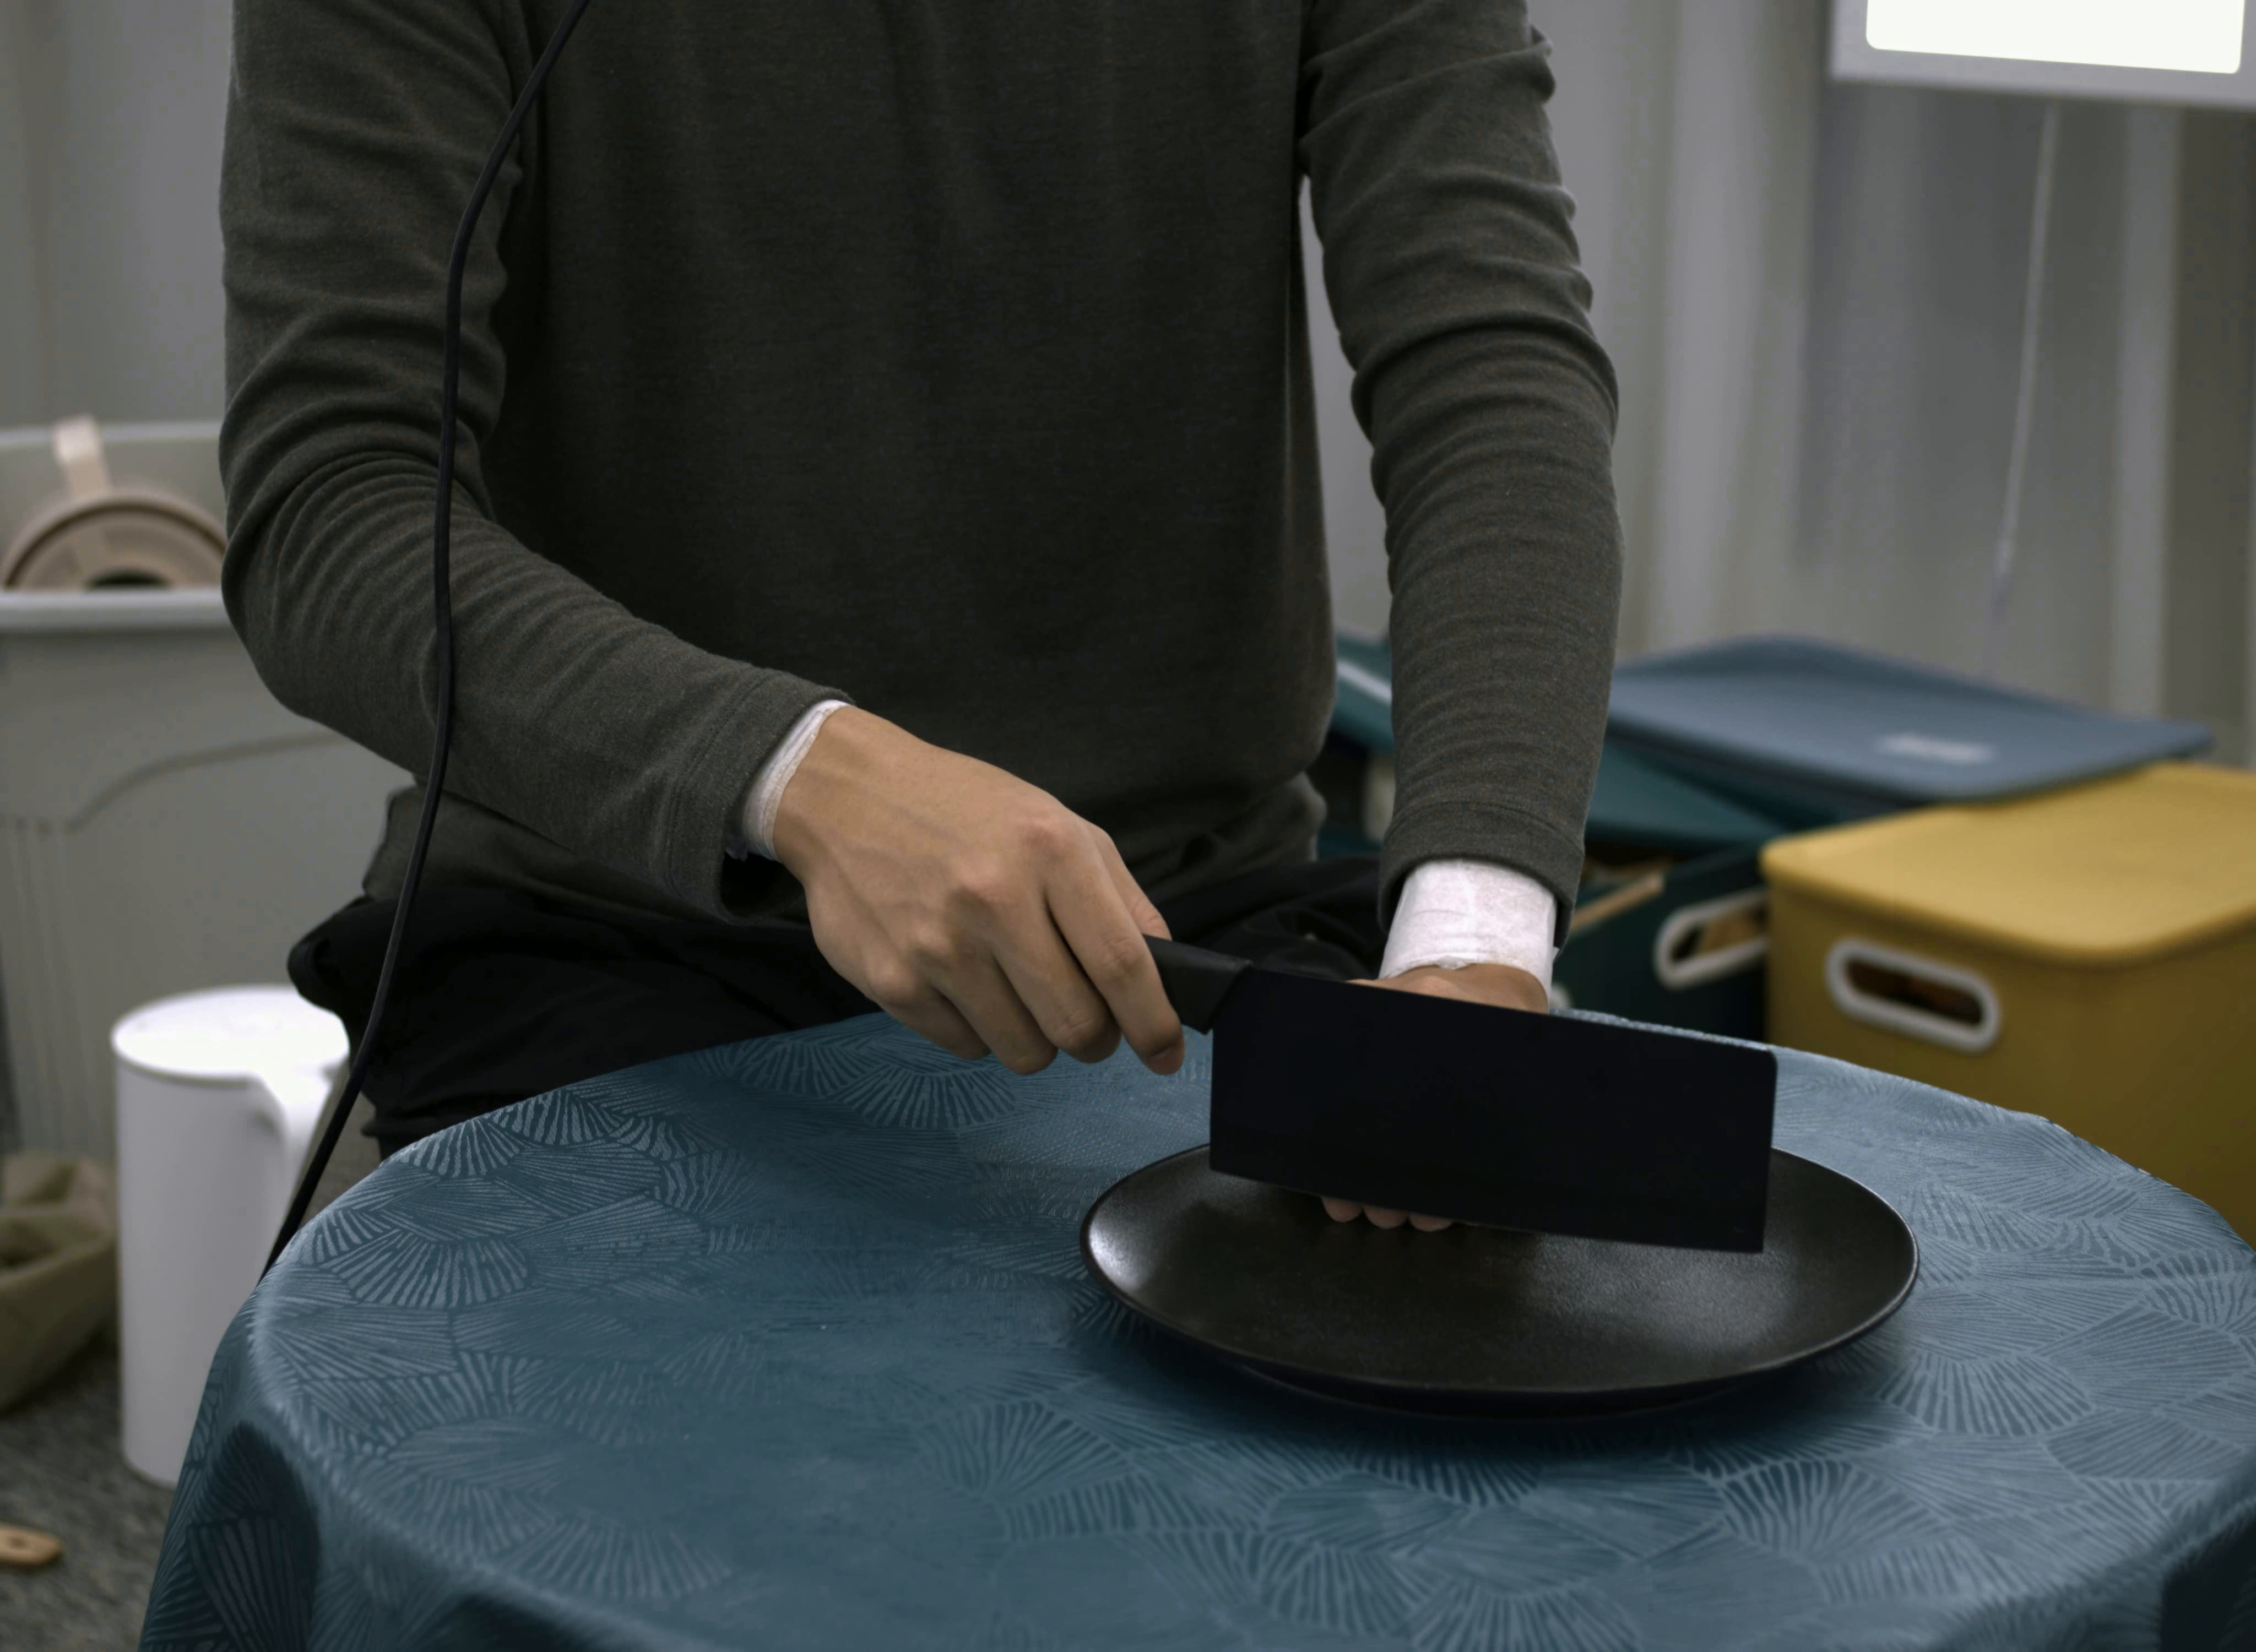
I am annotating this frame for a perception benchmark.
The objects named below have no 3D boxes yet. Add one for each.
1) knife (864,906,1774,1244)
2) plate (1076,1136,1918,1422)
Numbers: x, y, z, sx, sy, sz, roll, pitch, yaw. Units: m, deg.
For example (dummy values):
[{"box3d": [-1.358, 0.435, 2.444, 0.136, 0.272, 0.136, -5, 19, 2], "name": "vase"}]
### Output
[{"box3d": [0.052, 0.070, 1.561, 0.299, 0.081, 0.021, 13, 14, 26], "name": "knife"}, {"box3d": [0.106, 0.129, 1.526, 0.243, 0.023, 0.243, 1, 15, 0], "name": "plate"}]
